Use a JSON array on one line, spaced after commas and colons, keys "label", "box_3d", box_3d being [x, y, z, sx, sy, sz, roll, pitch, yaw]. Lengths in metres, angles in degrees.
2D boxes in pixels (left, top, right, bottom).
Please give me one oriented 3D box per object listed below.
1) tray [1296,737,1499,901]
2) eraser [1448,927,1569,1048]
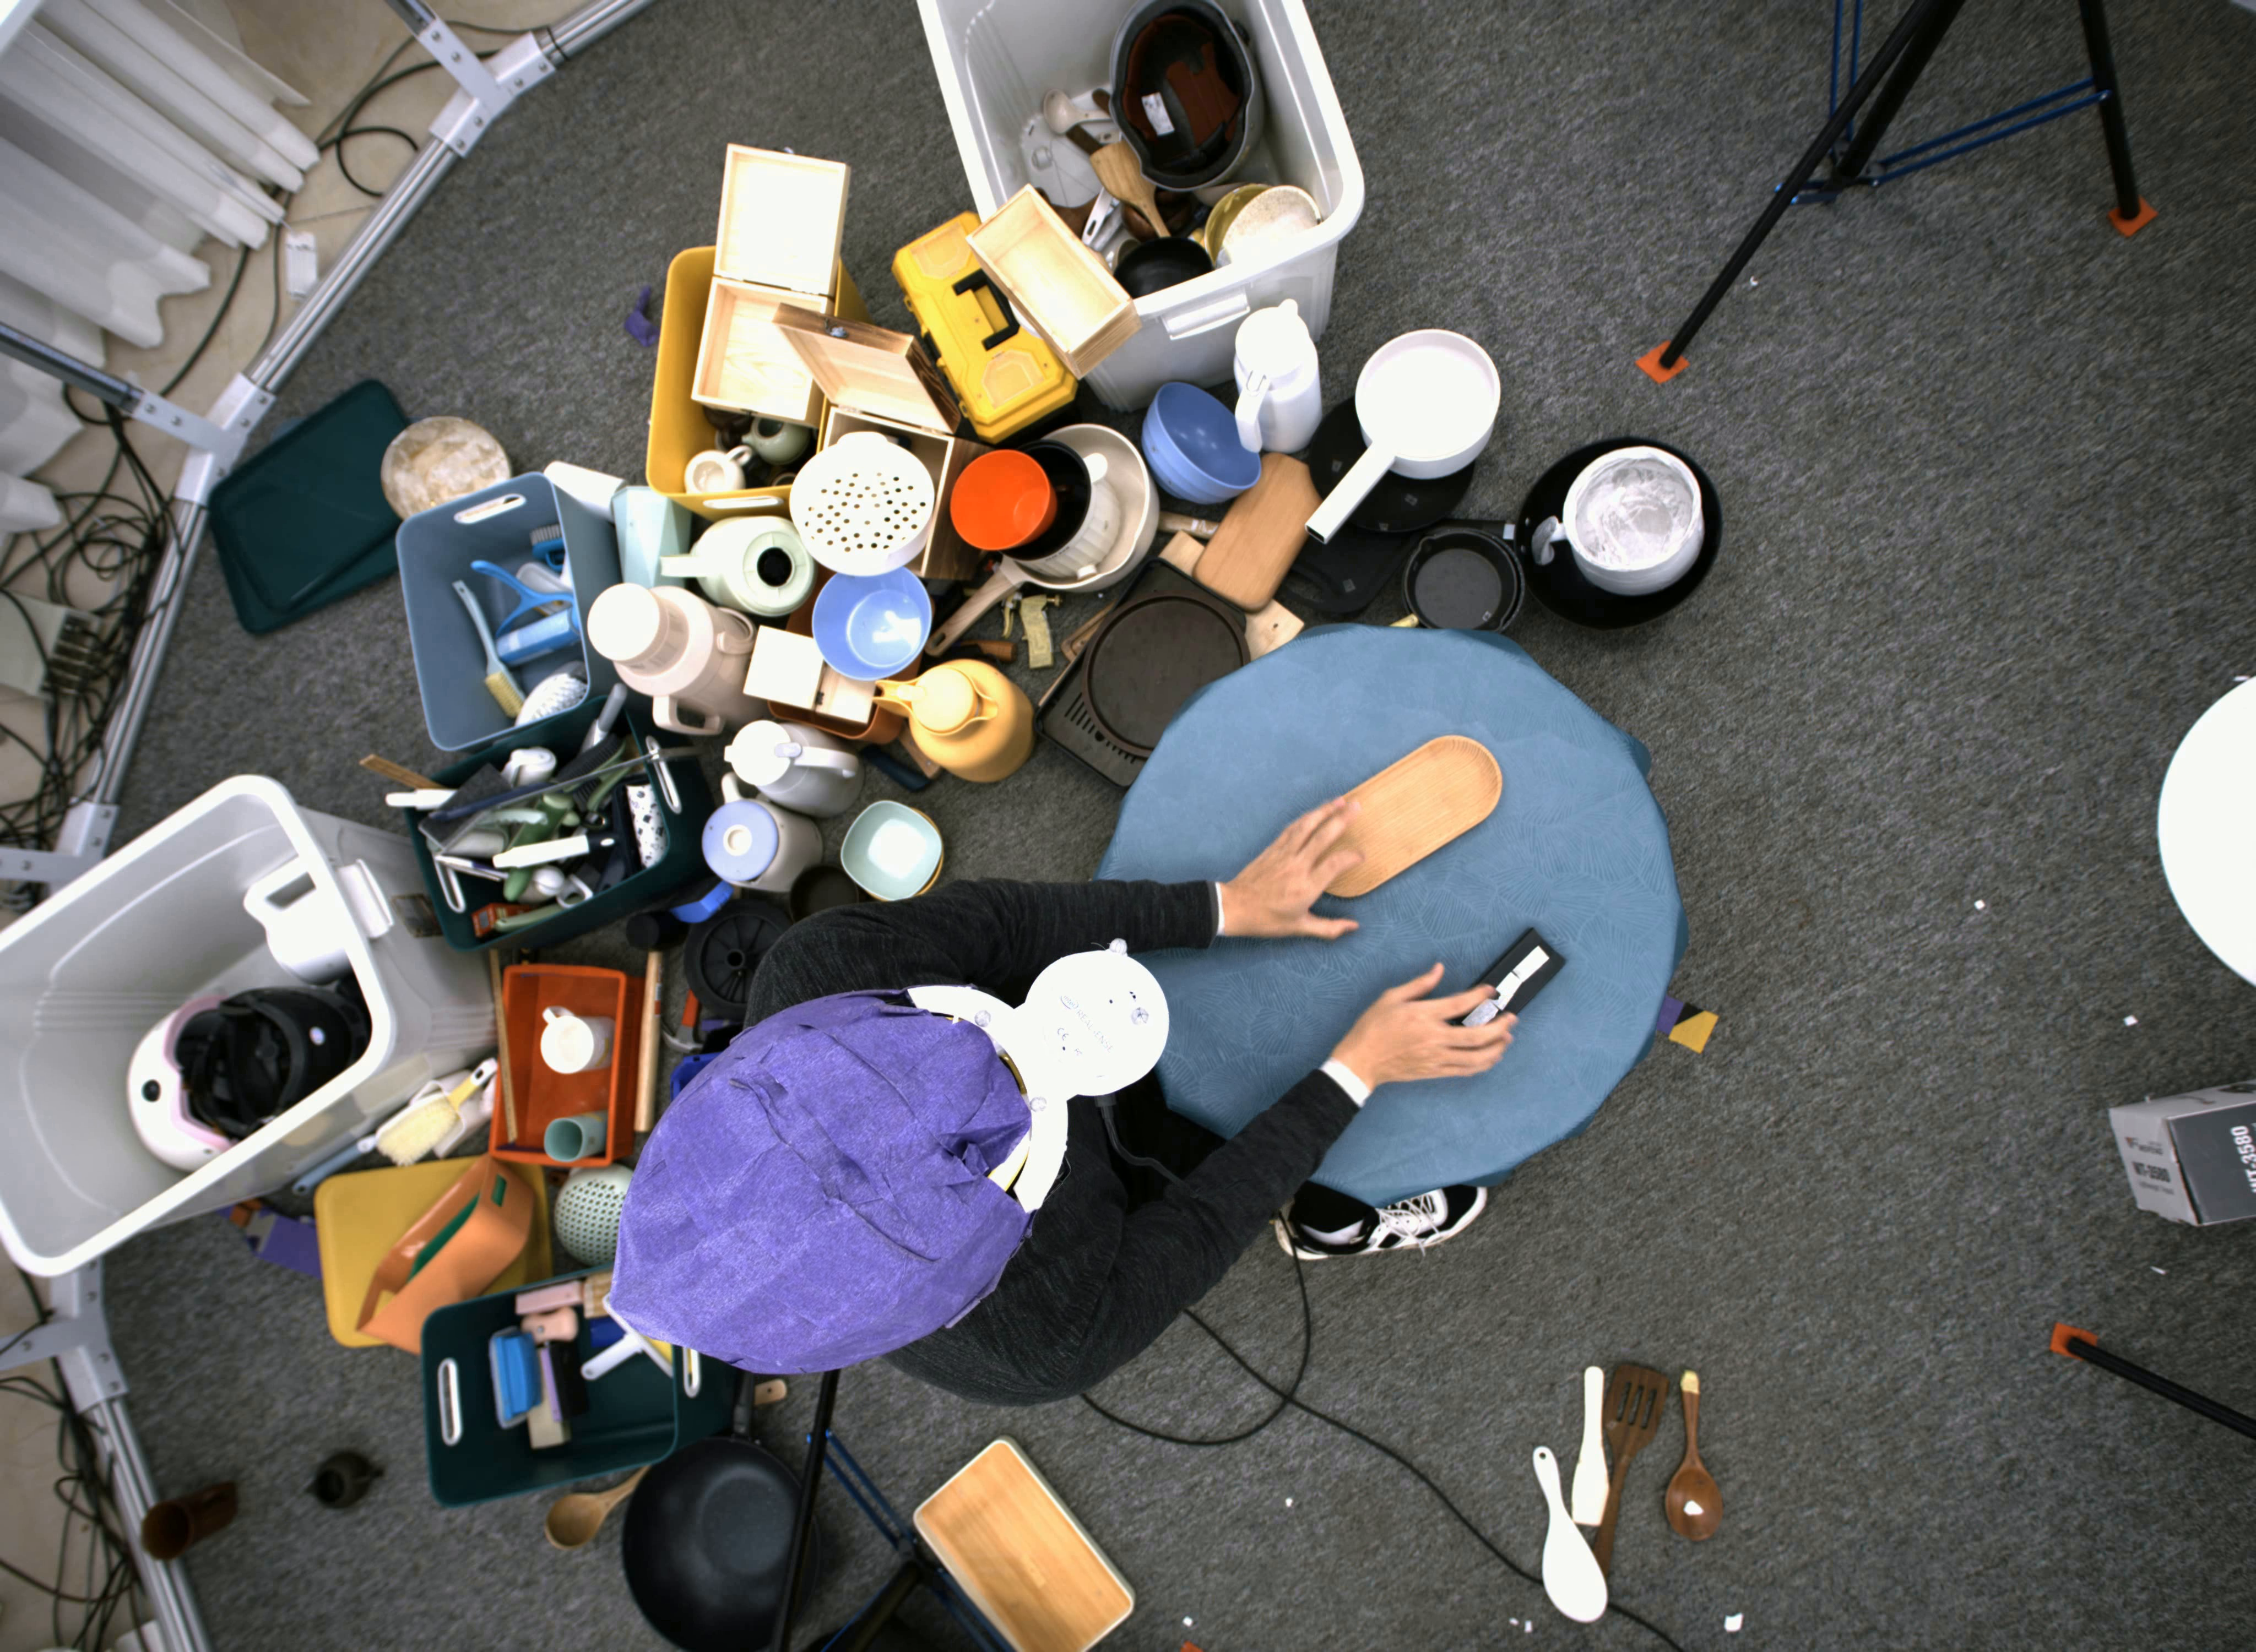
[{"label": "tray", "box_3d": [0.283, -0.009, 1.454, 0.233, 0.020, 0.101, -34, 80, 9]}, {"label": "eraser", "box_3d": [0.391, 0.163, 1.418, 0.053, 0.030, 0.126, 44, 96, 12]}]
